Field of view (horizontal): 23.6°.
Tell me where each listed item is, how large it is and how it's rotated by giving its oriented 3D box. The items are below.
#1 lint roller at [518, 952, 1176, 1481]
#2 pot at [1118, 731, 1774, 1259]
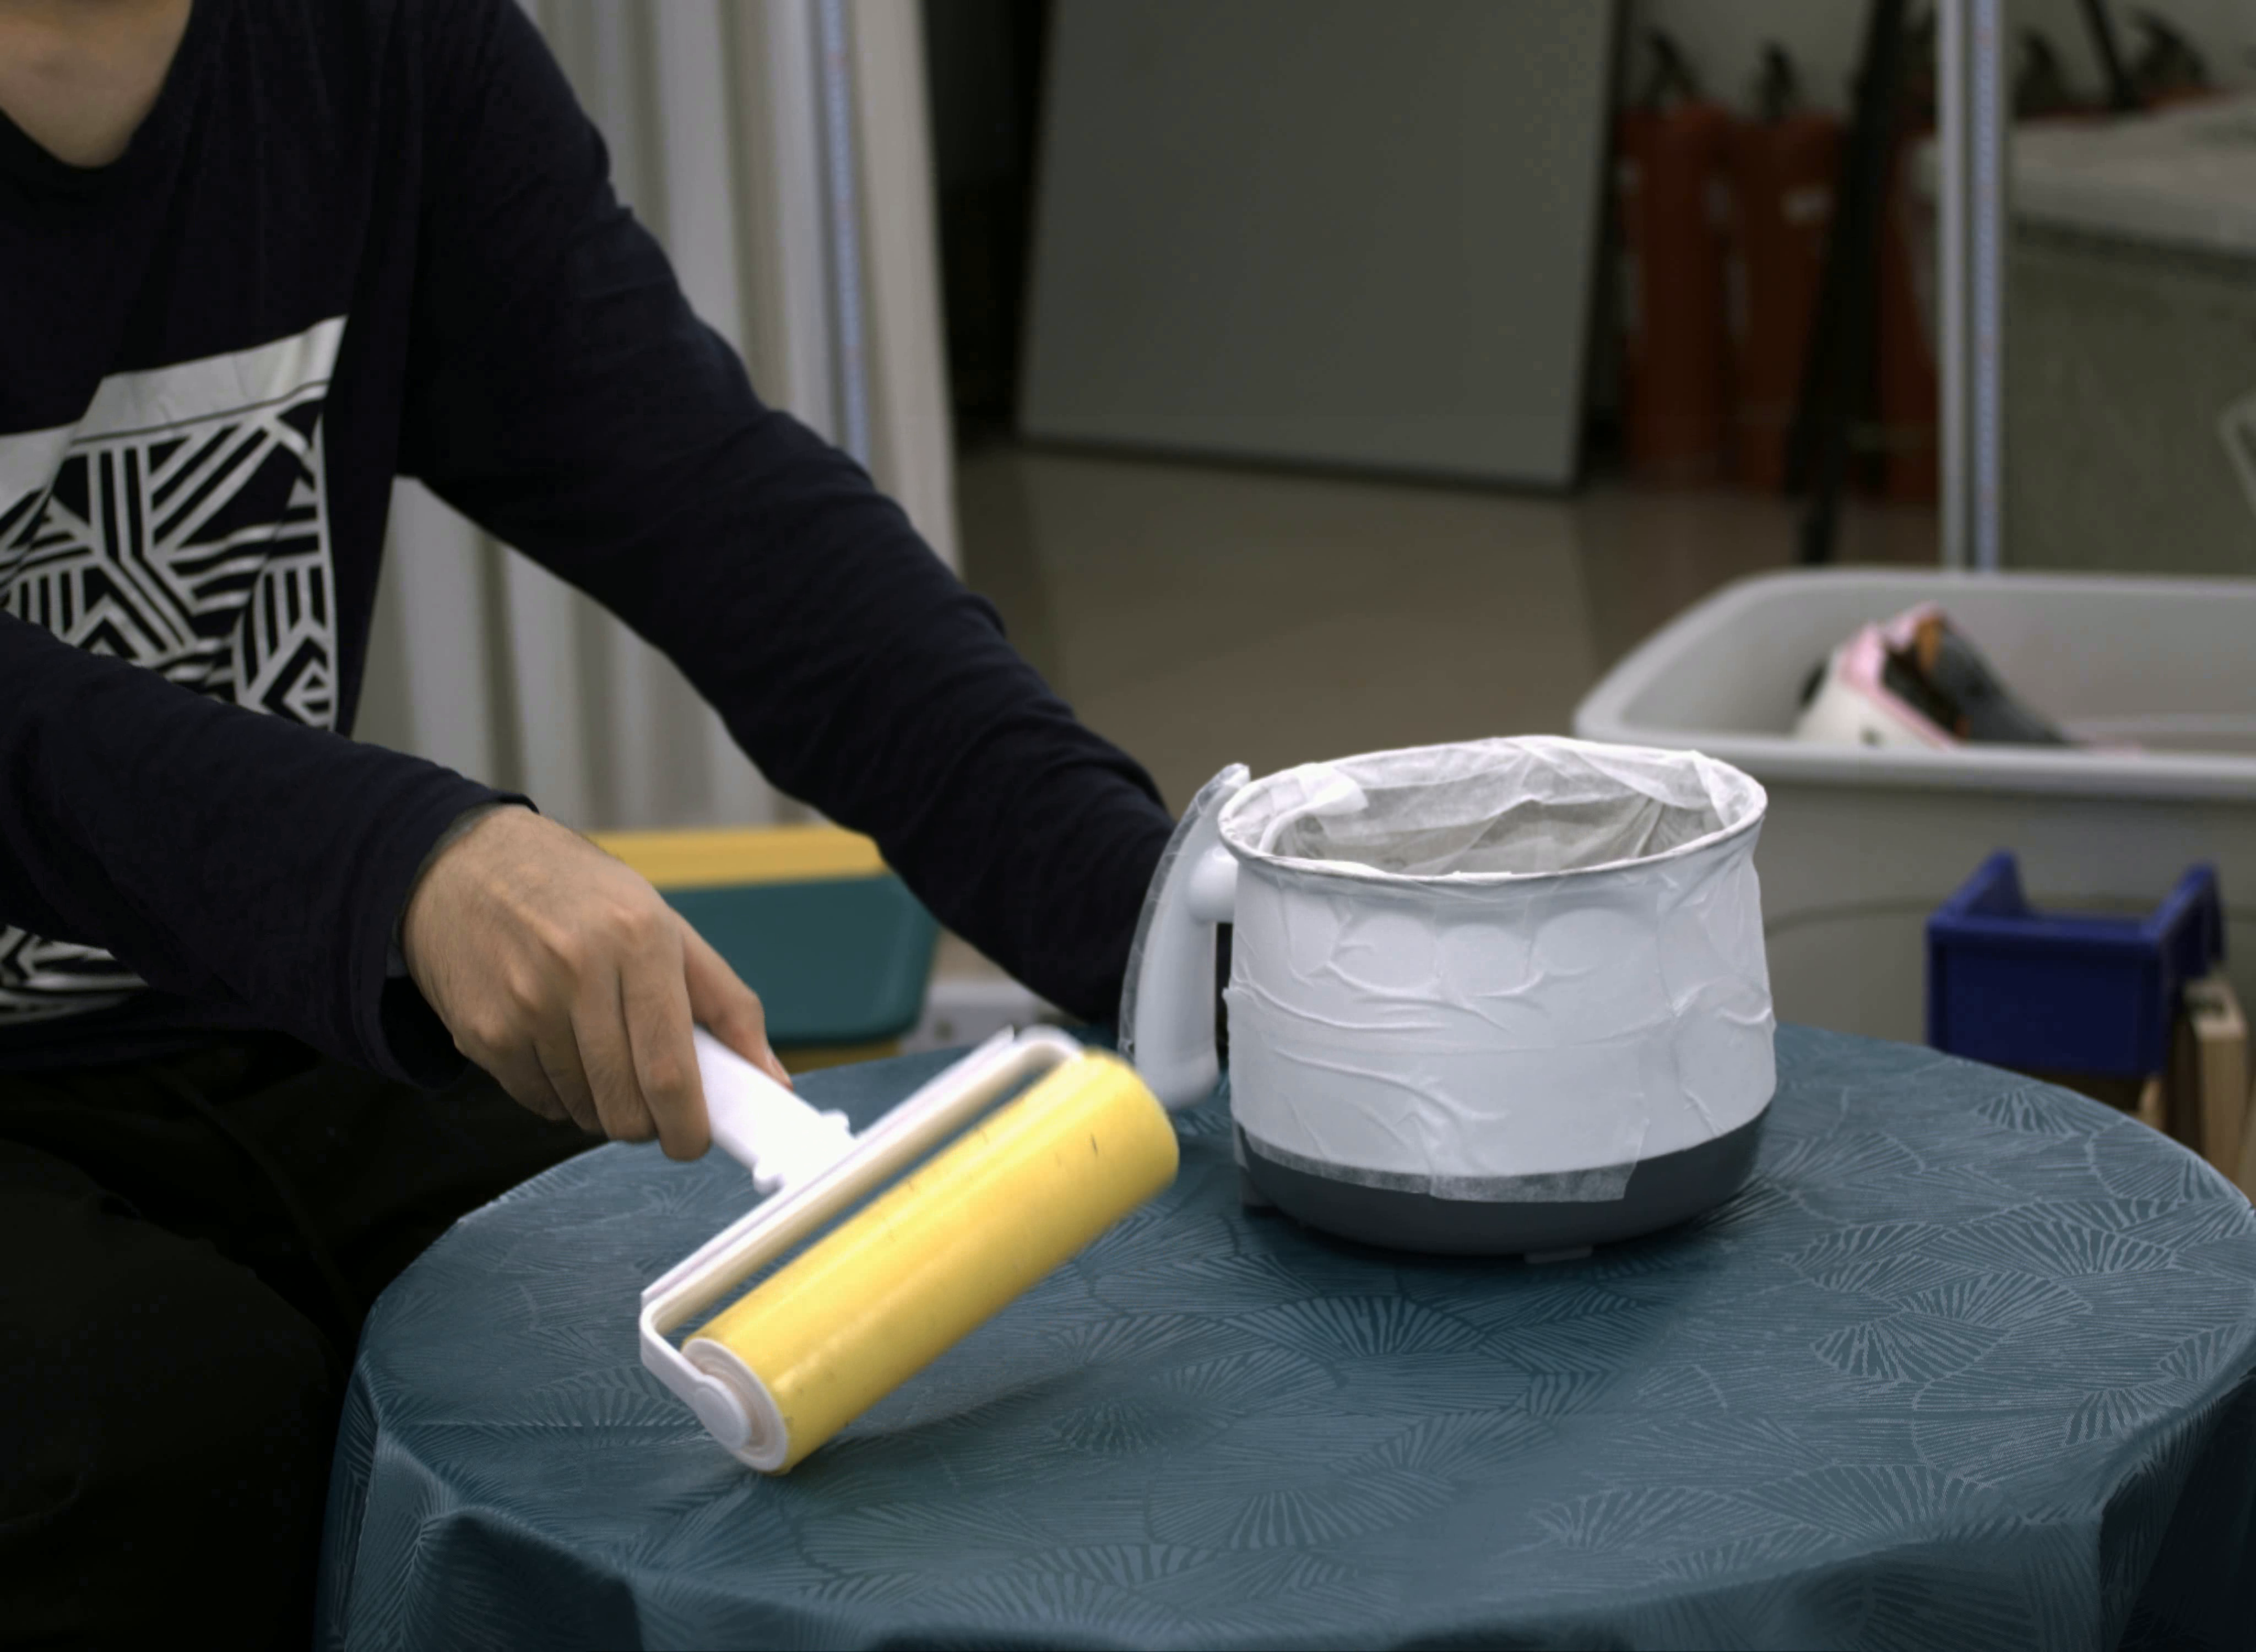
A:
[{"bbox_3d":[-0.107,0.087,1.584,0.193,0.052,0.171,40,50,22],"label":"lint roller"},{"bbox_3d":[0.096,0.049,1.740,0.235,0.138,0.175,7,15,34],"label":"pot"}]
